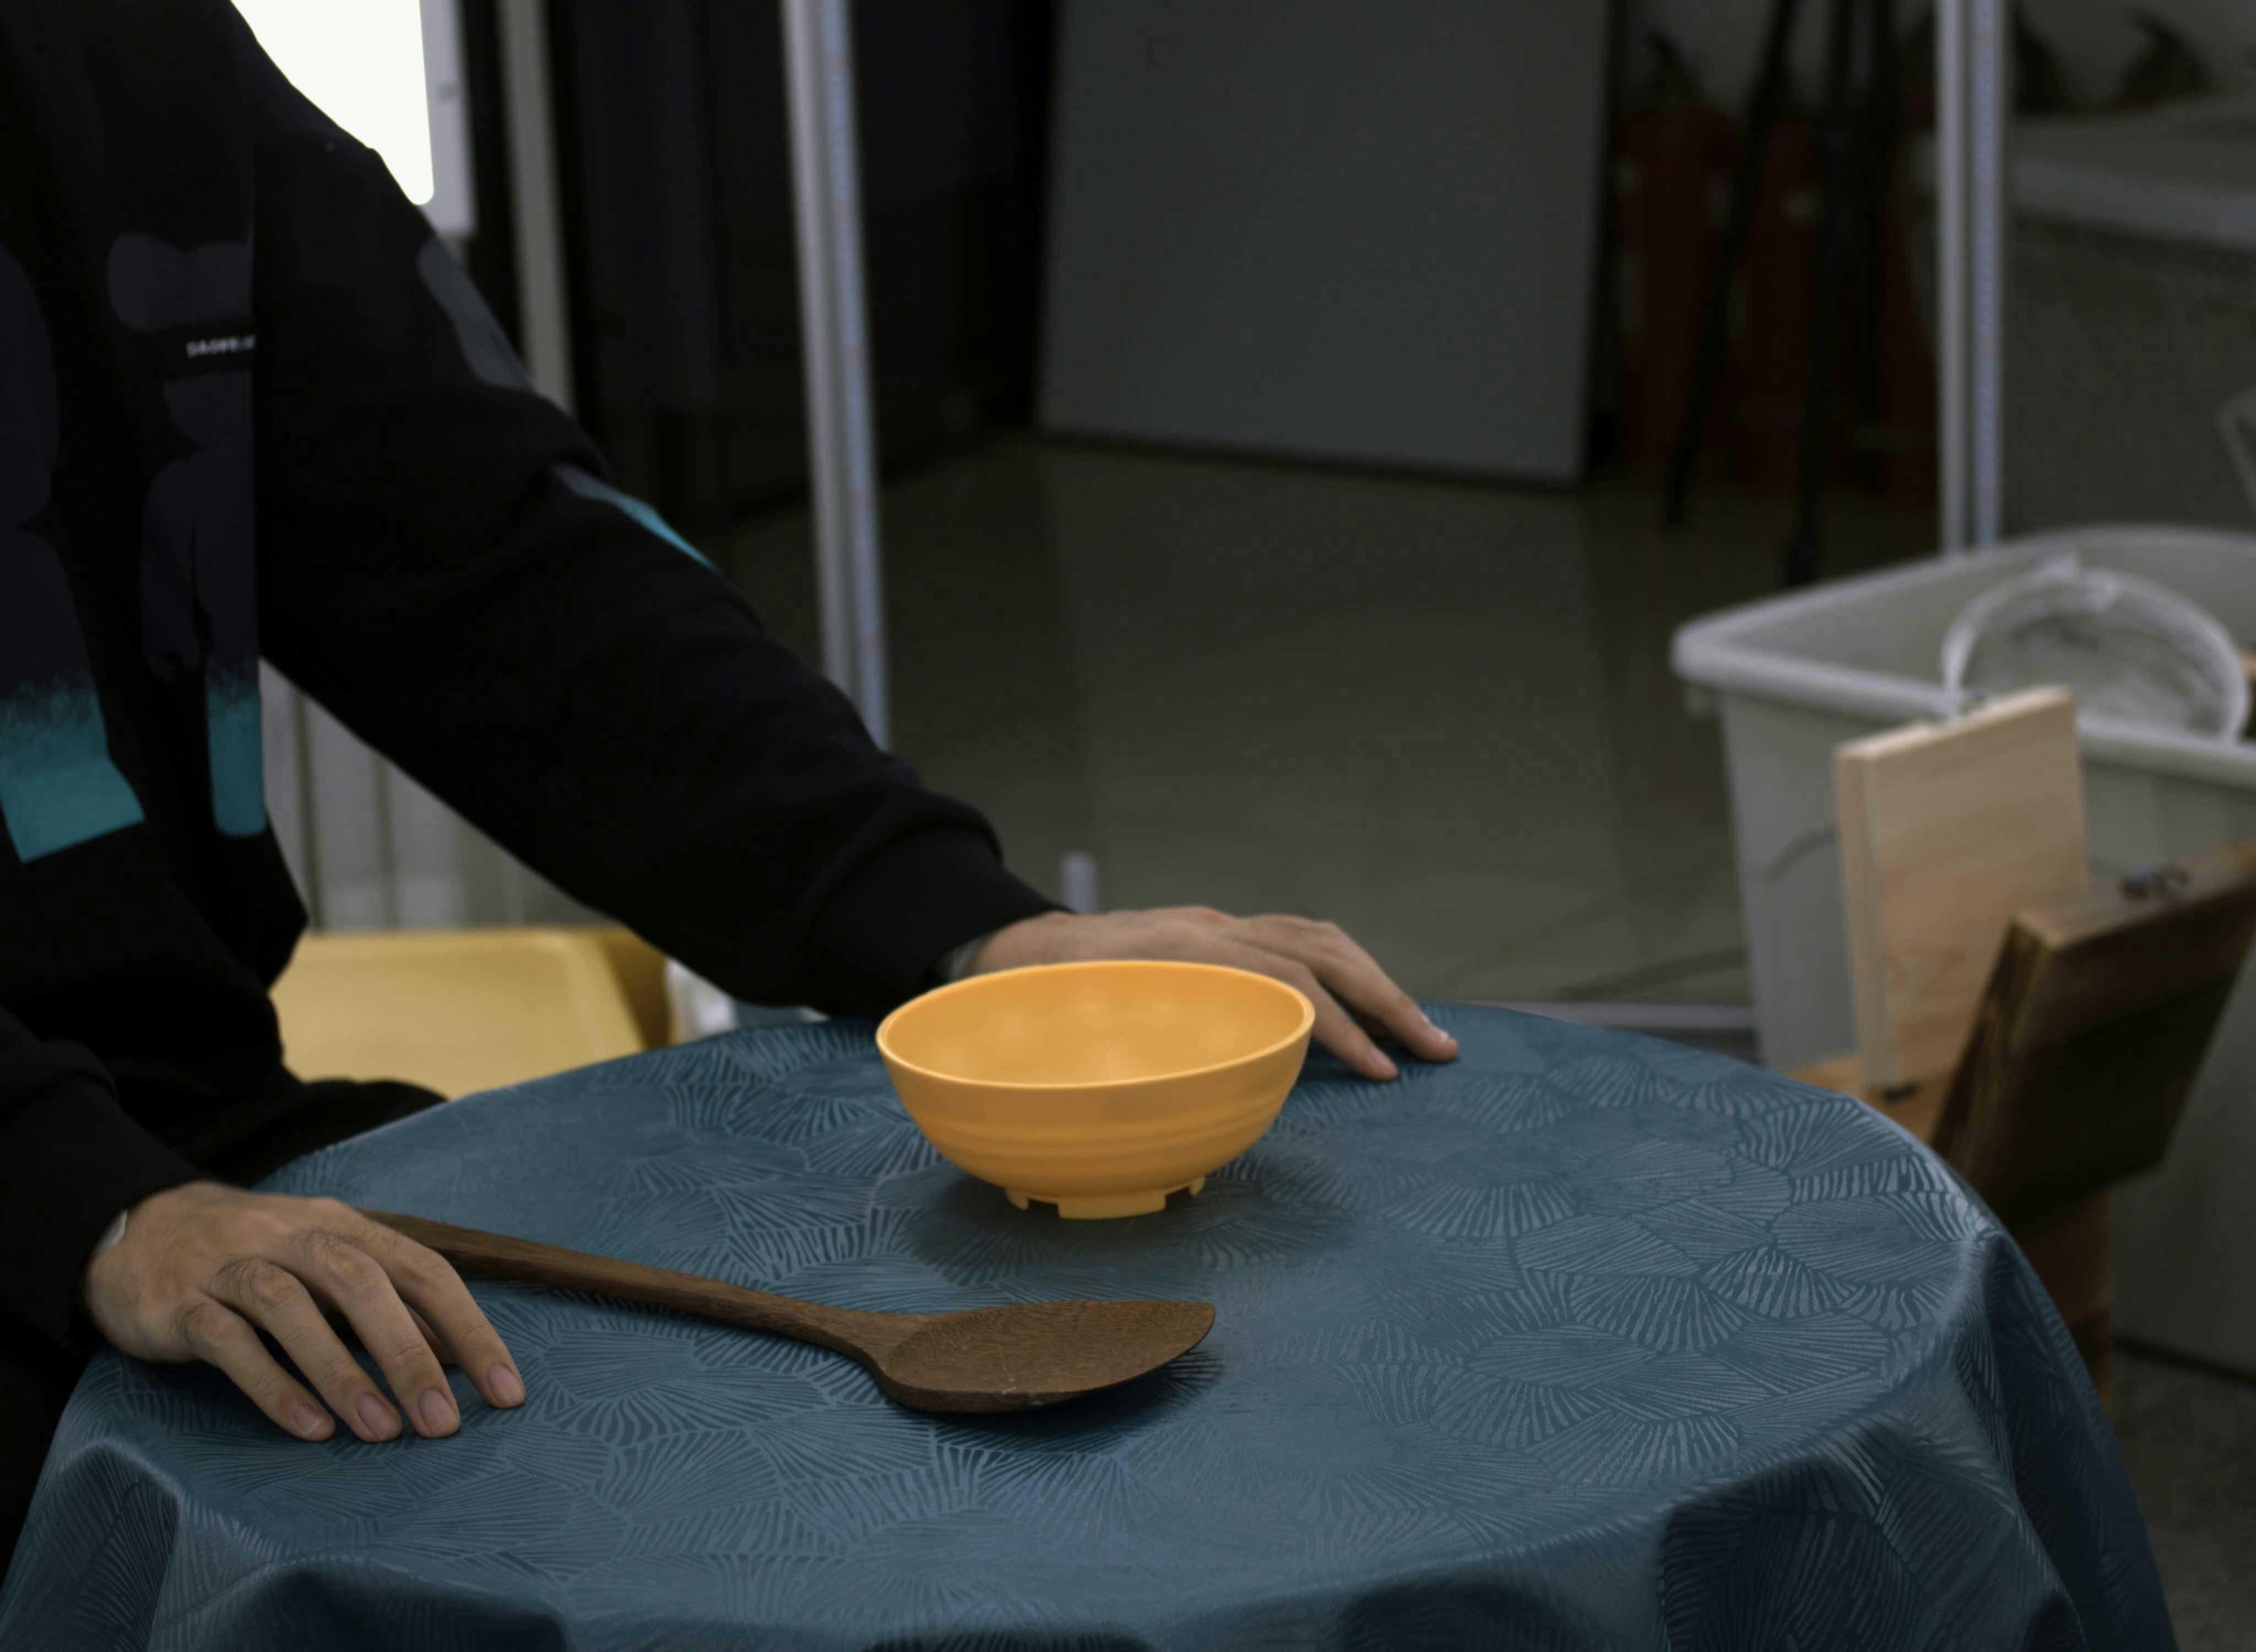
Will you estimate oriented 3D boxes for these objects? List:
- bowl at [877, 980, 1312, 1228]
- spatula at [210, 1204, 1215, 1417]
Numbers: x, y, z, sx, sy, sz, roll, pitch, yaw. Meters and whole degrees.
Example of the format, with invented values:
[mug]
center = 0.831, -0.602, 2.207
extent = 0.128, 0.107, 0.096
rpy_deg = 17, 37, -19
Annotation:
[bowl]
center = -0.010, 0.095, 1.767
extent = 0.143, 0.061, 0.145
rpy_deg = -4, 11, 0
[spatula]
center = -0.145, 0.146, 1.685
extent = 0.388, 0.016, 0.094
rpy_deg = 6, 16, 36
